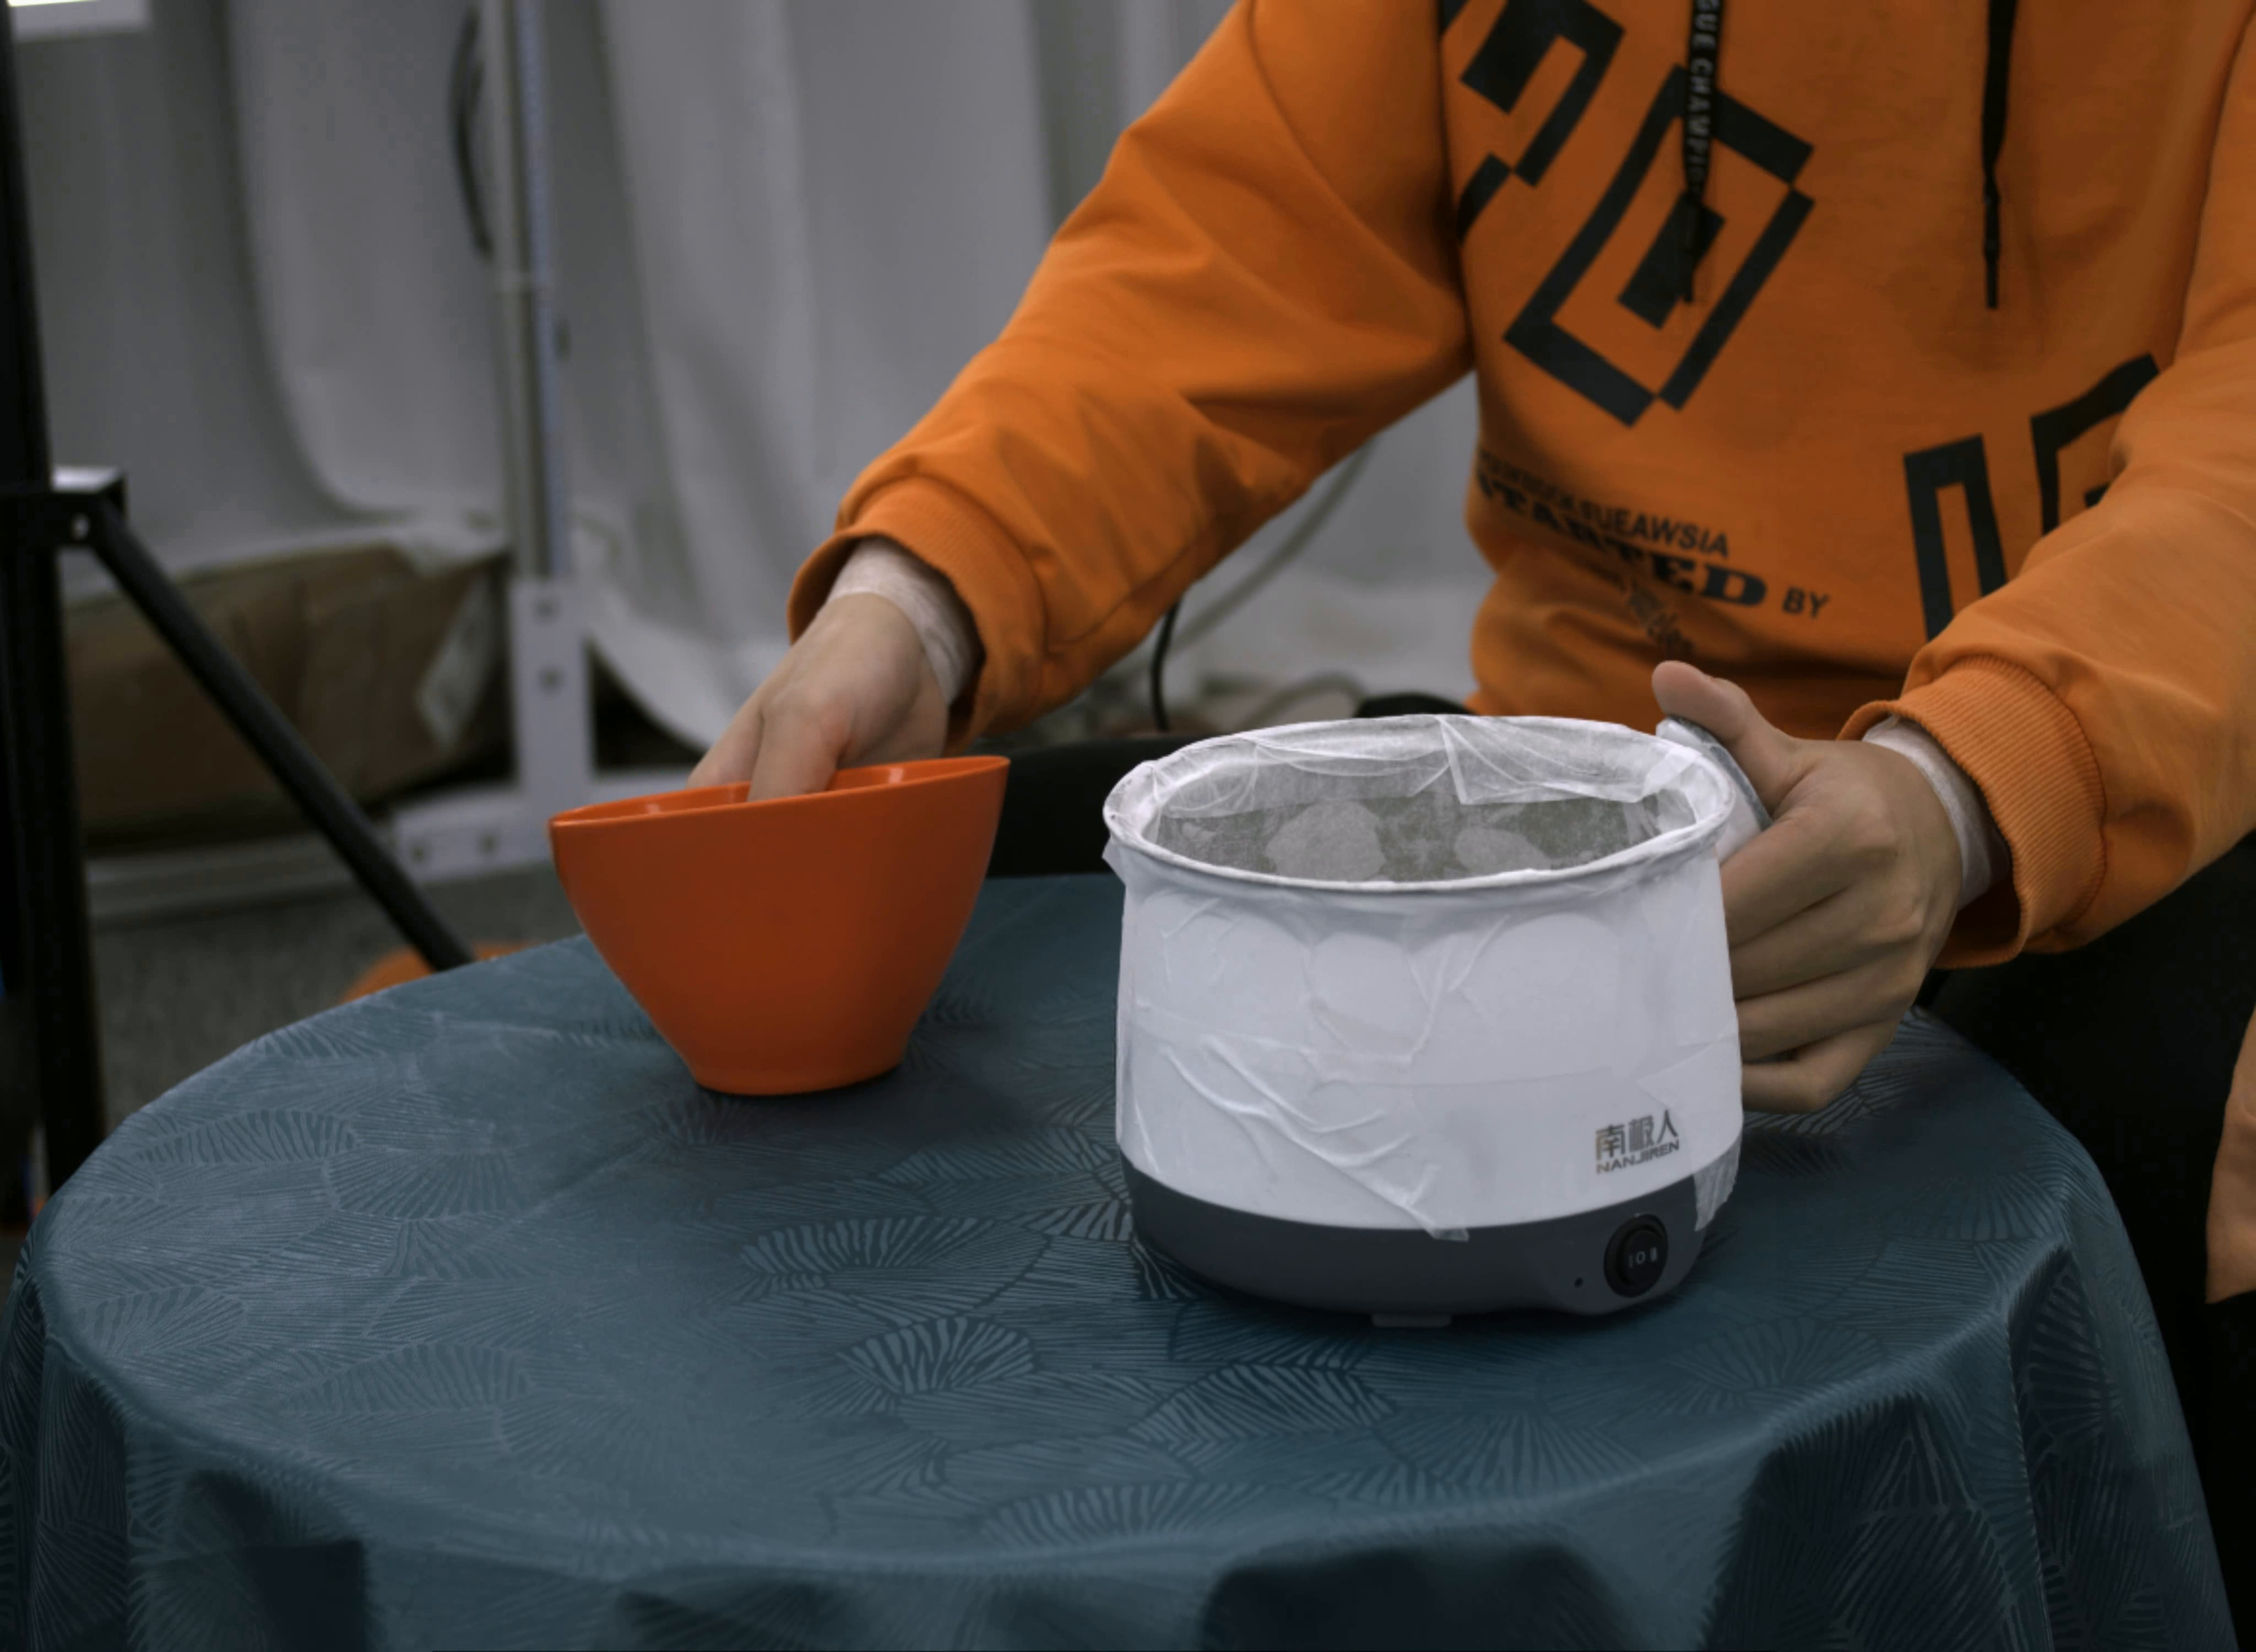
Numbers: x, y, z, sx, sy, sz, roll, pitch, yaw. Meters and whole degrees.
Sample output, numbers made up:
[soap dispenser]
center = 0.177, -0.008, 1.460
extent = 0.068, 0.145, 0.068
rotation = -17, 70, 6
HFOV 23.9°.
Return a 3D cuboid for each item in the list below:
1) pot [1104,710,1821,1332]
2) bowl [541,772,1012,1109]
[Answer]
[pot]
center = 0.105, 0.047, 1.502
extent = 0.228, 0.136, 0.183
rotation = -14, 20, -36
[bowl]
center = -0.106, 0.032, 1.660
extent = 0.147, 0.105, 0.148
rotation = -5, 11, 0
